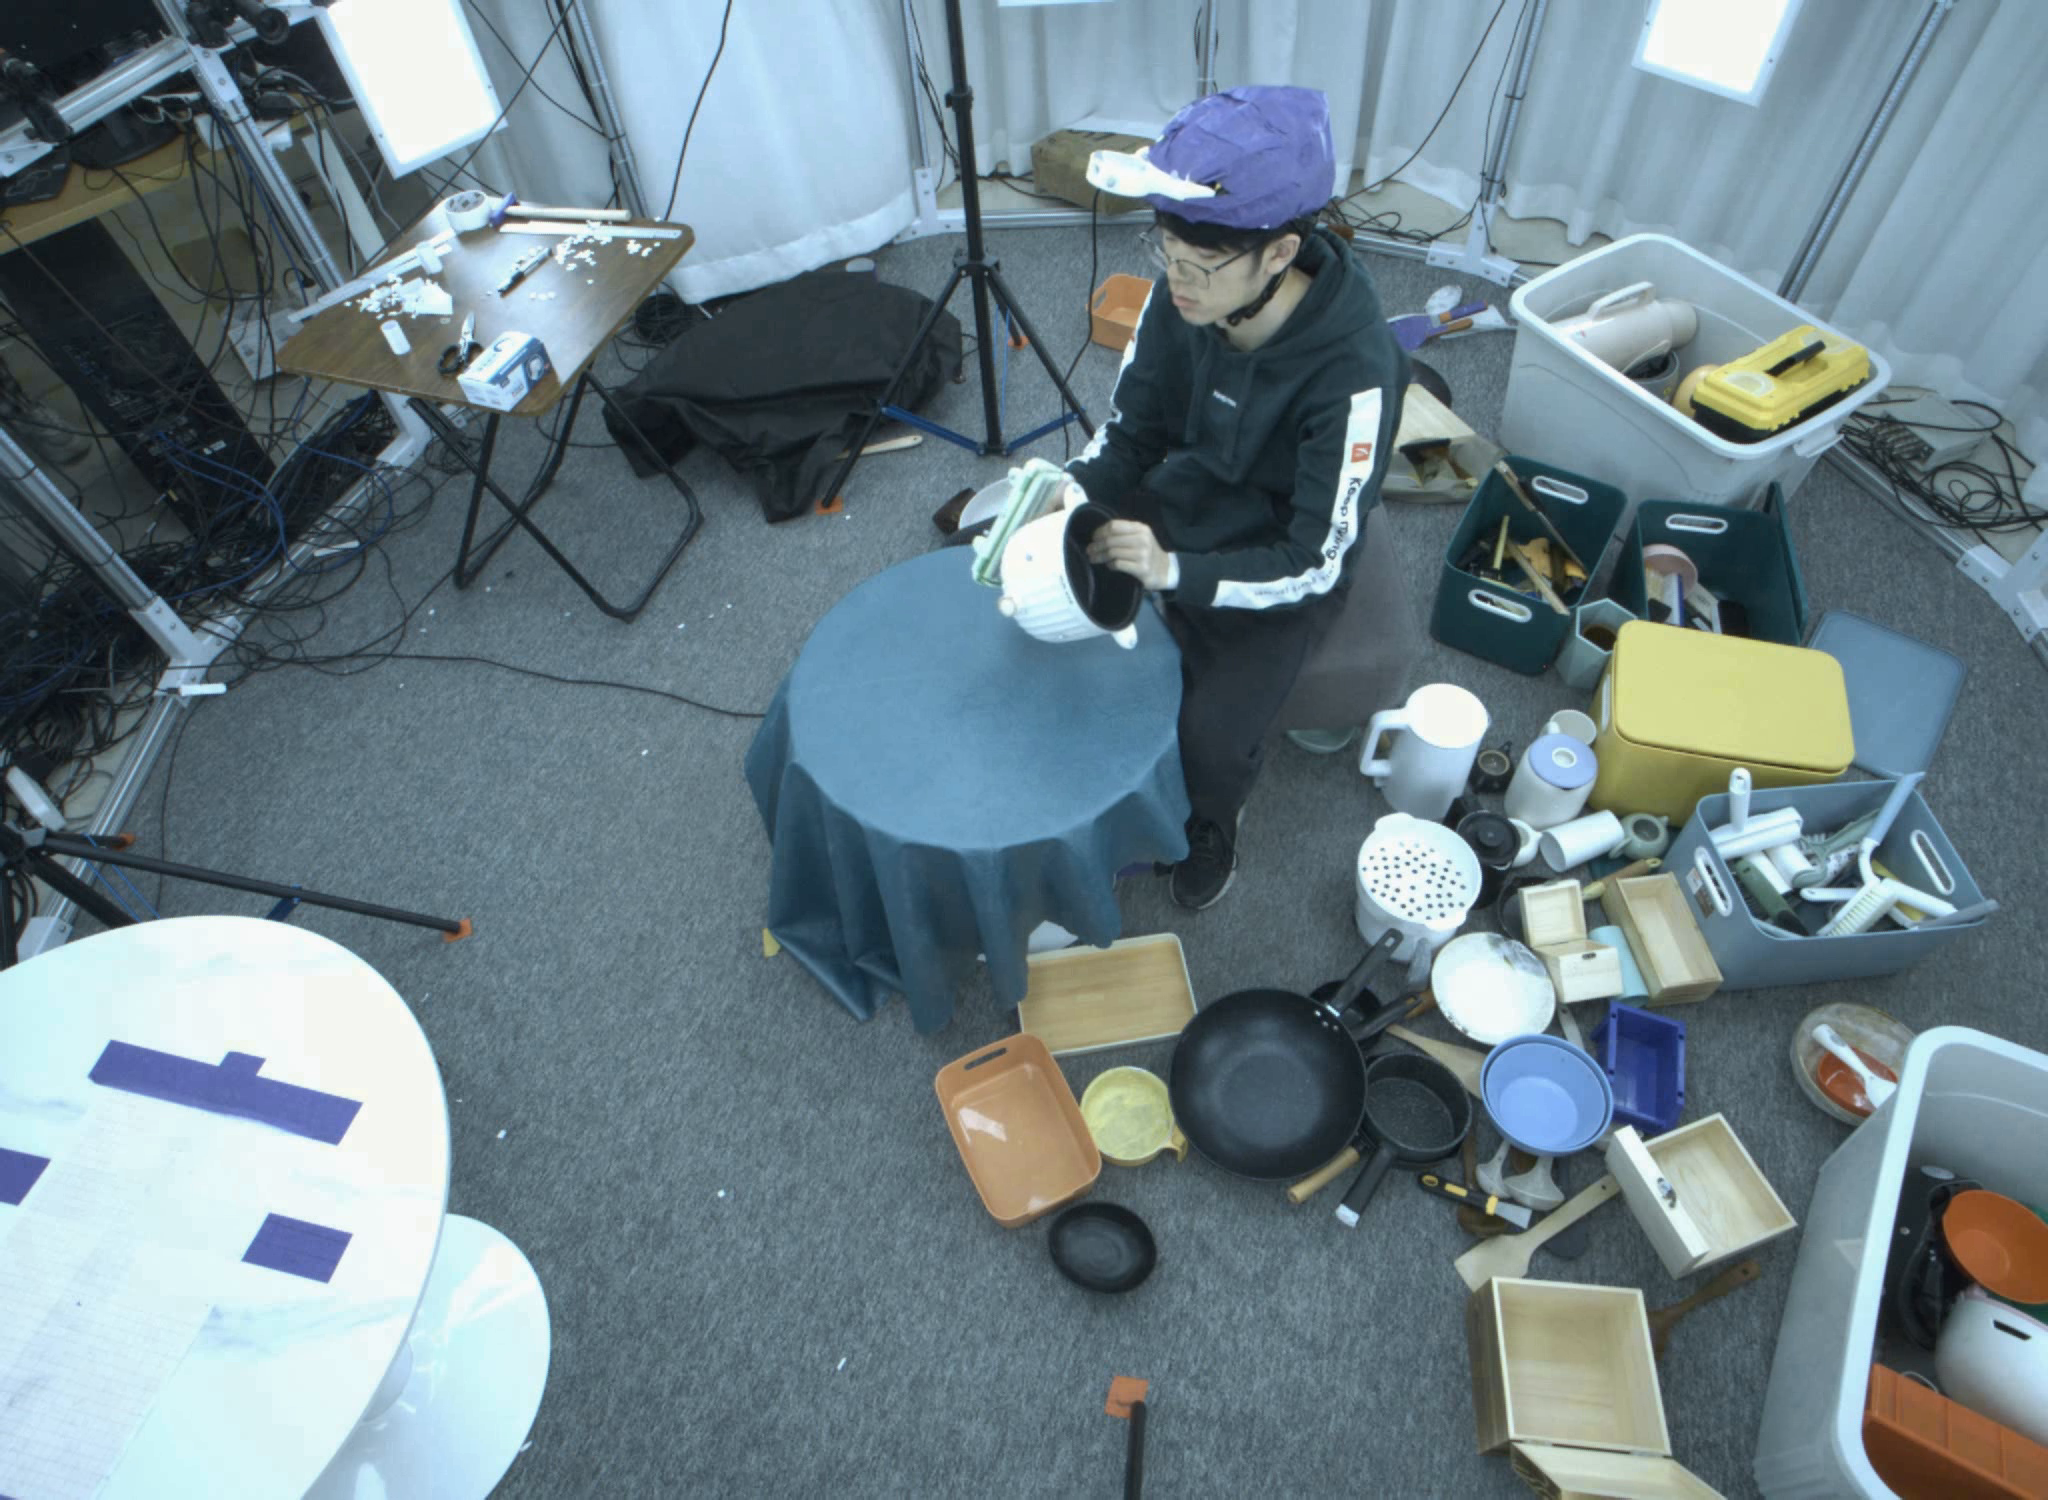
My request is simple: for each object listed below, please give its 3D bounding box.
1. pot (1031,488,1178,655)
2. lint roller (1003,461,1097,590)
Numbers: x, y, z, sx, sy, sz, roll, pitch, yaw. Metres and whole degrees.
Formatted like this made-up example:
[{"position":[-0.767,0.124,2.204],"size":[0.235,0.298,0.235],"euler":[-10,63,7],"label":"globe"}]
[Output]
[{"position":[0.104,-0.231,1.703],"size":[0.140,0.242,0.192],"euler":[-10,19,37],"label":"pot"},{"position":[0.044,-0.342,1.795],"size":[0.082,0.198,0.184],"euler":[33,27,3],"label":"lint roller"}]
